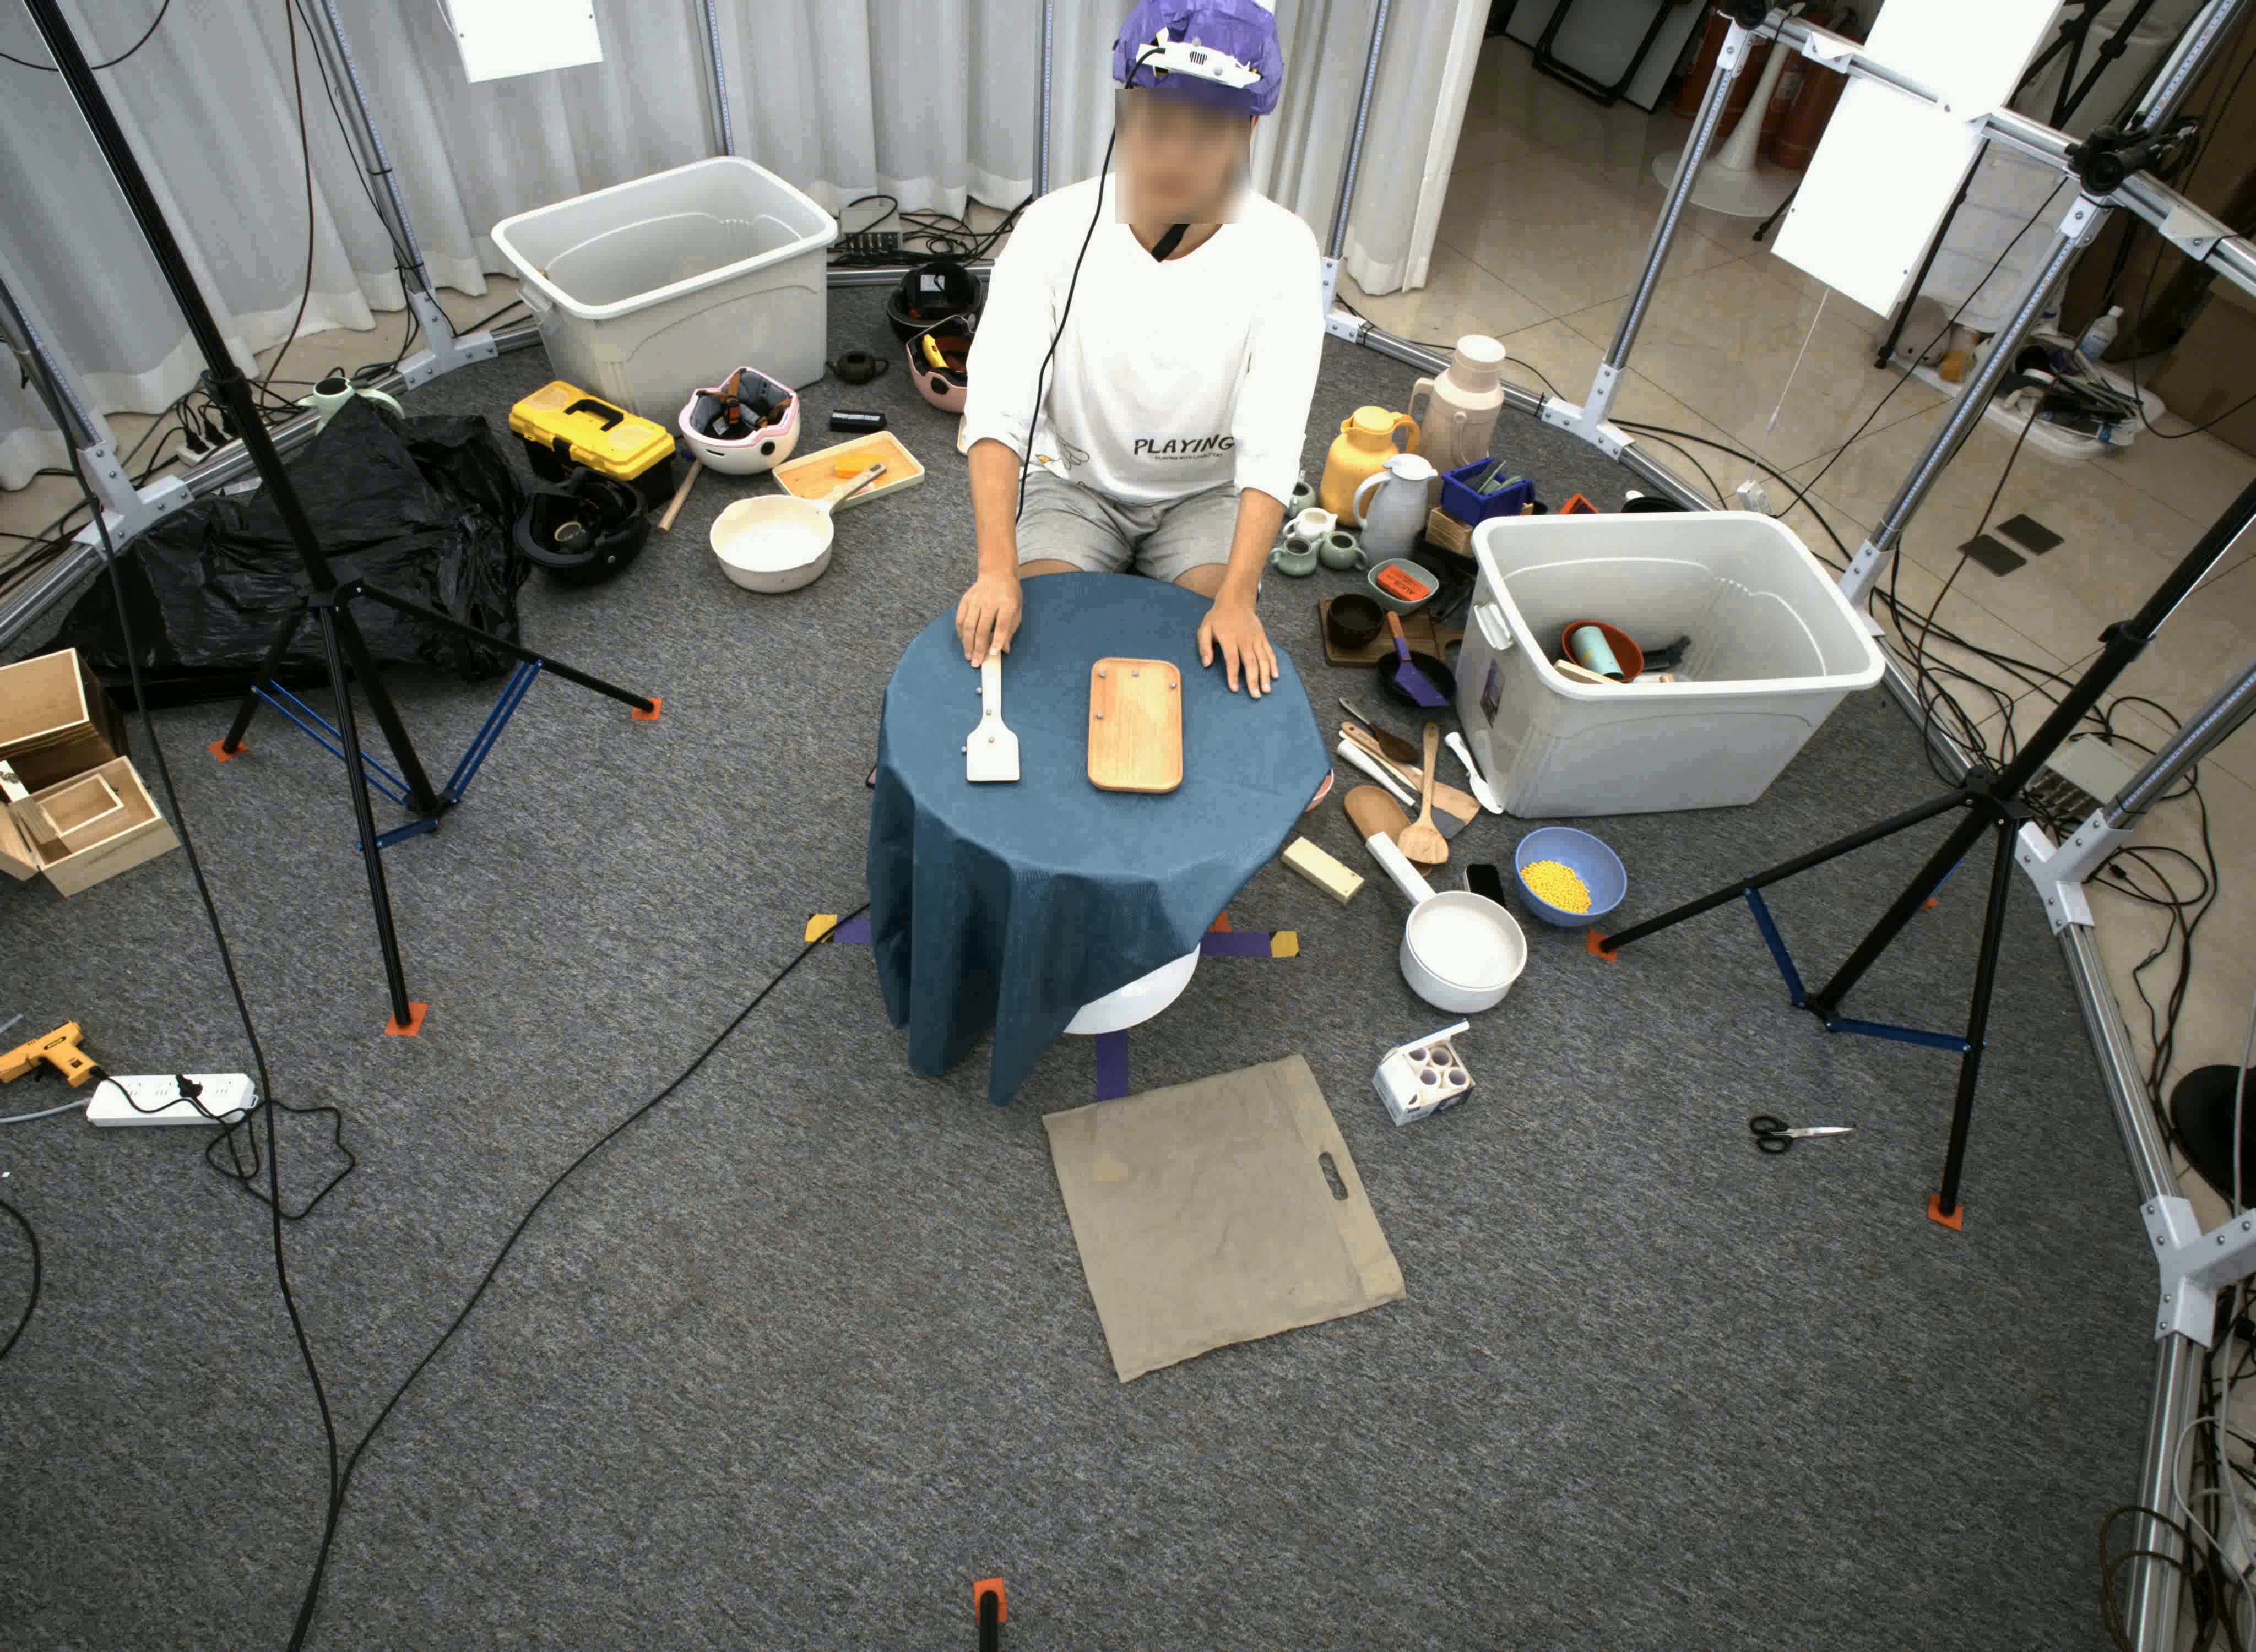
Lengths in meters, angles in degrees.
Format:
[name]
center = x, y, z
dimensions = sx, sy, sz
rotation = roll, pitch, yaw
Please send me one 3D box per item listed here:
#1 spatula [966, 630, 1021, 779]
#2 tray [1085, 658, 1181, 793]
[spatula]
center = -0.189, -0.174, 1.795
dimensions = 0.072, 0.010, 0.300
rotation = -2, 49, -5
[tray]
center = 0.009, -0.142, 1.777
dimensions = 0.130, 0.022, 0.257
rotation = 2, 49, 1
